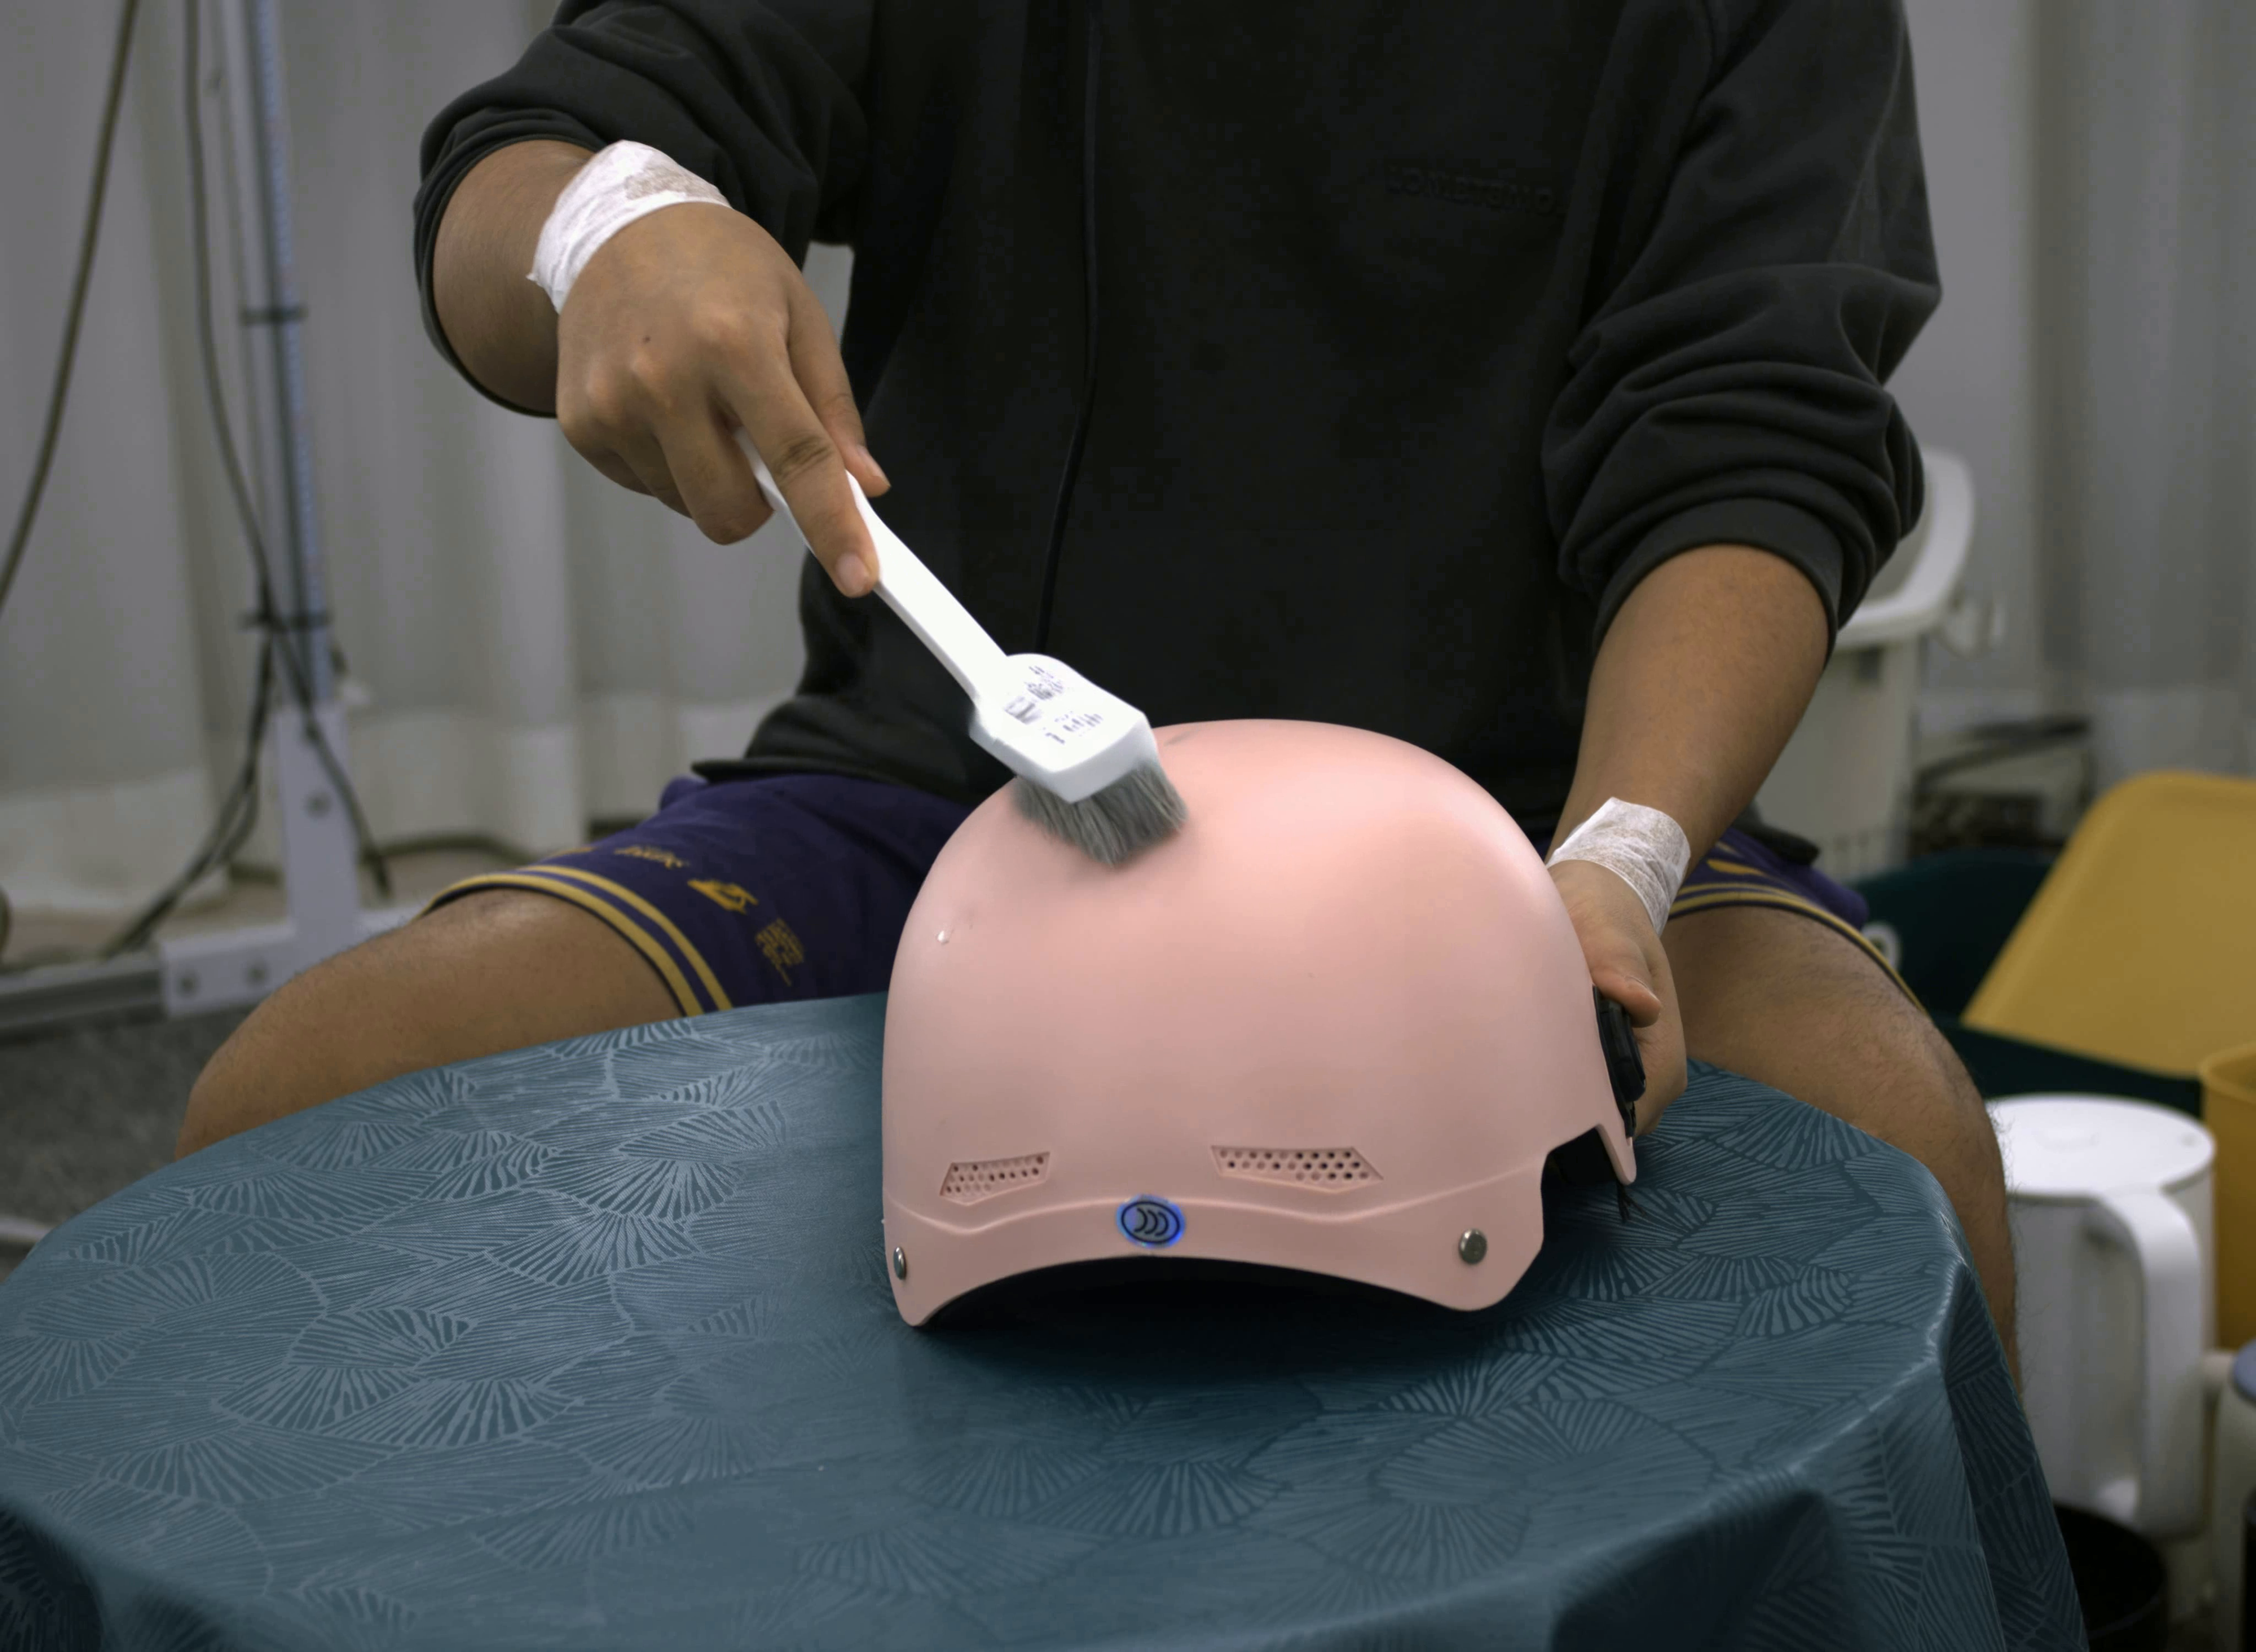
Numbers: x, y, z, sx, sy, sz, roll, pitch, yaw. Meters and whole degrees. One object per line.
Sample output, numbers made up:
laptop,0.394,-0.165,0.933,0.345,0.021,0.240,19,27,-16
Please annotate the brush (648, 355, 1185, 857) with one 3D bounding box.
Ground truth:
brush,-0.066,-0.066,1.623,0.034,0.049,0.246,-35,49,-18

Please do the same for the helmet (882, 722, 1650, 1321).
helmet,0.034,0.046,1.651,0.234,0.158,0.266,-4,9,17
